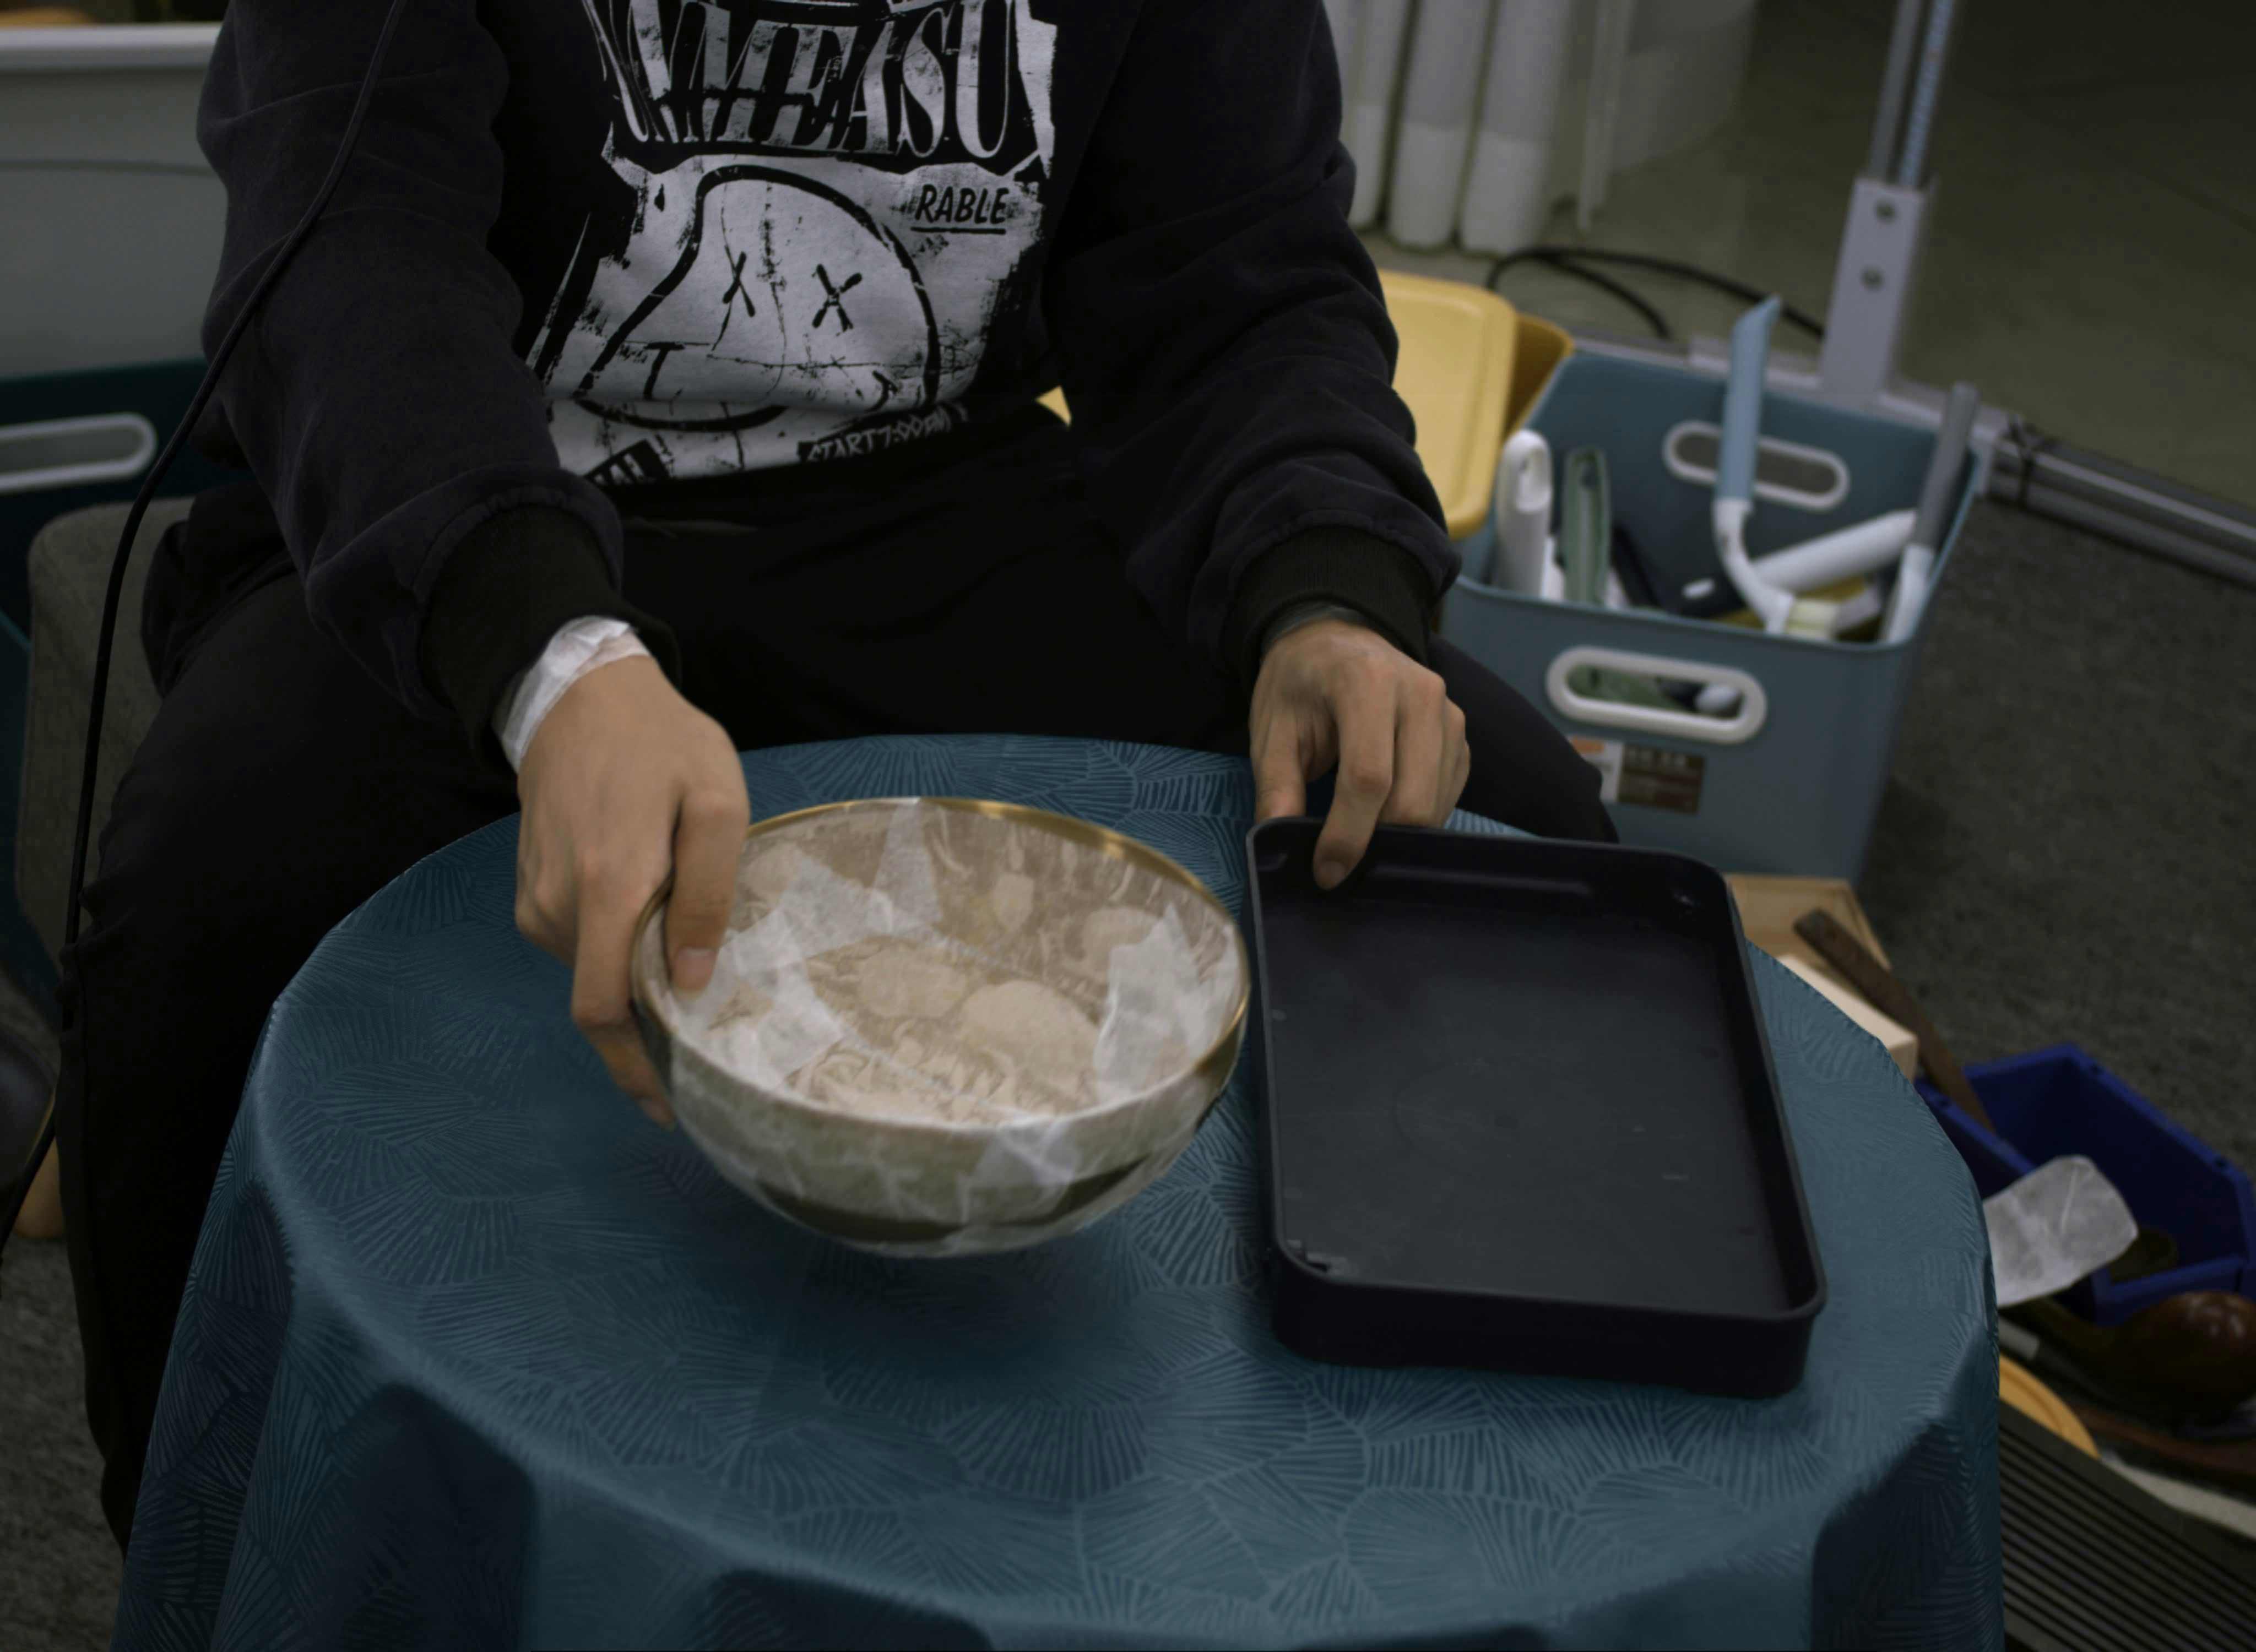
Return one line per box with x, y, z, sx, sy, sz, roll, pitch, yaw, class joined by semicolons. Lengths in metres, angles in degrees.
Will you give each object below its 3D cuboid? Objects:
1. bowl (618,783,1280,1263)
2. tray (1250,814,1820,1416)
-0.061;0.077;1.728;0.214;0.094;0.216;2;30;-2;bowl
0.133;0.094;1.850;0.184;0.037;0.320;6;29;-2;tray
